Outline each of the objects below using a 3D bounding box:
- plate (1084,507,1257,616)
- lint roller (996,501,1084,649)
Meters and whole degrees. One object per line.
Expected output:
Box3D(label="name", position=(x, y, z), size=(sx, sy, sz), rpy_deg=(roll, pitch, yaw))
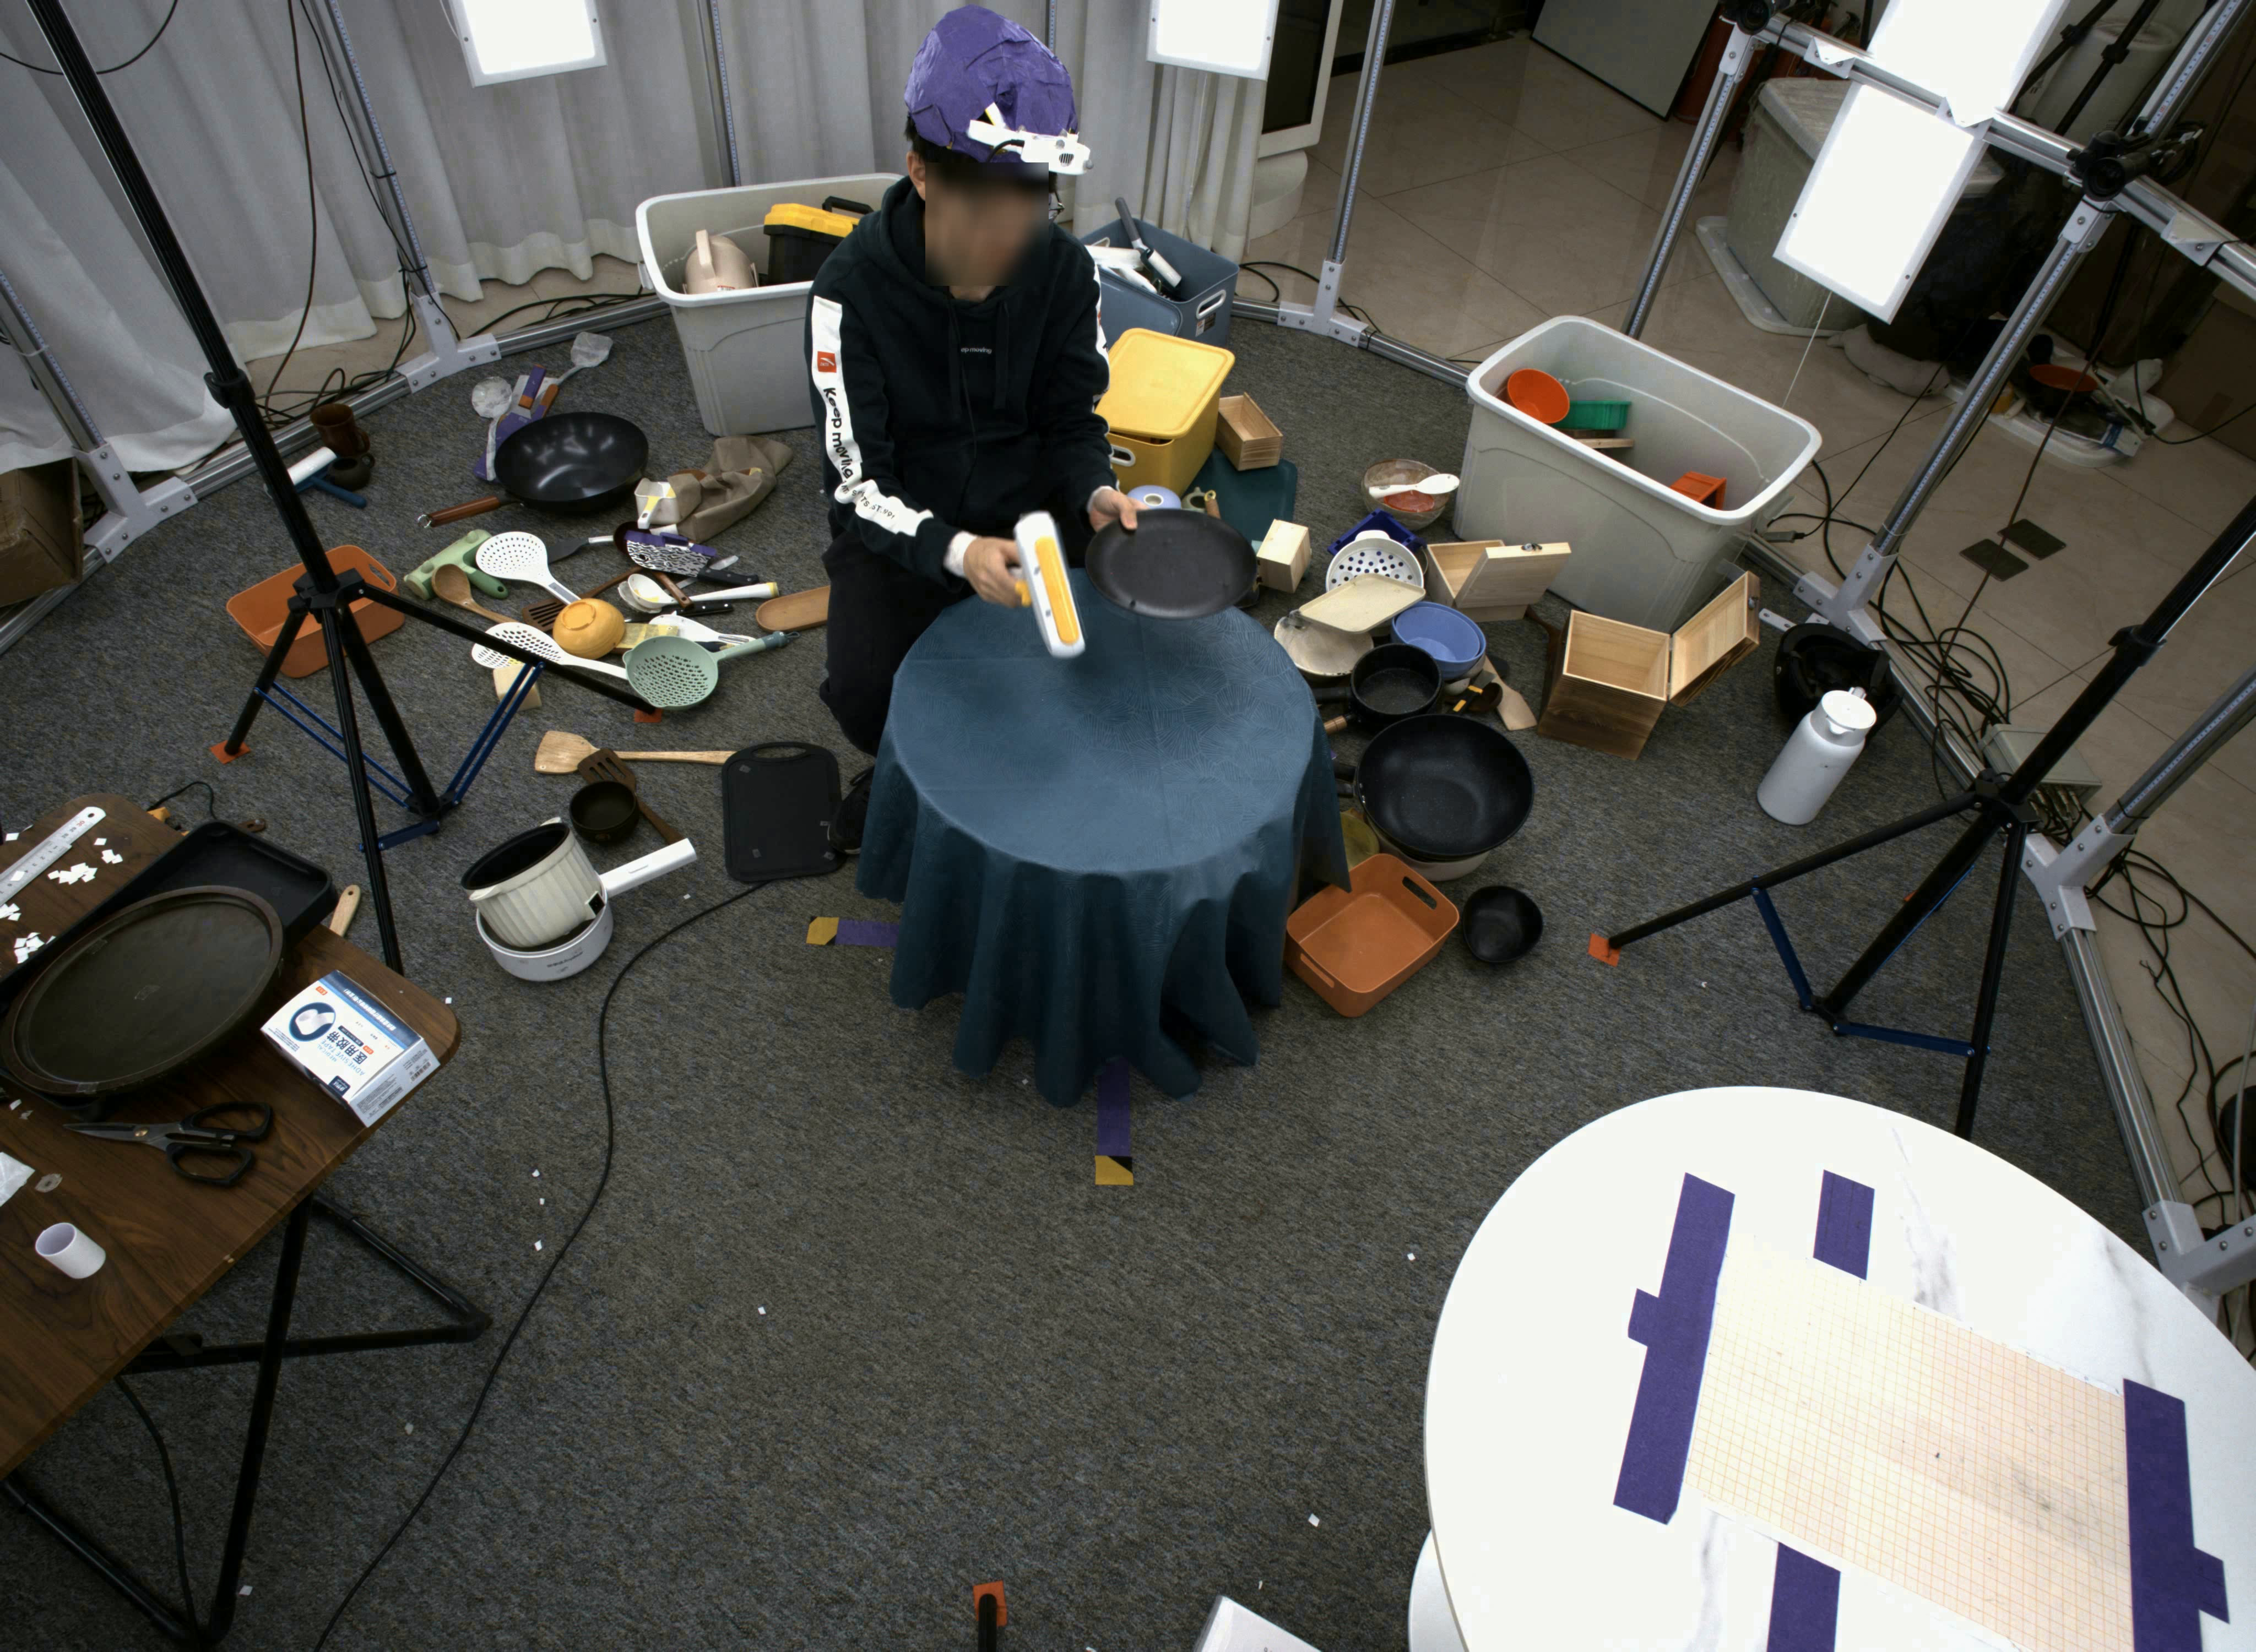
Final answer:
Box3D(label="plate", position=(0.060, -0.368, 1.811), size=(0.244, 0.023, 0.250), rpy_deg=(1, 48, -1))
Box3D(label="lint roller", position=(-0.128, -0.335, 1.730), size=(0.074, 0.190, 0.194), rpy_deg=(-23, 17, -12))
